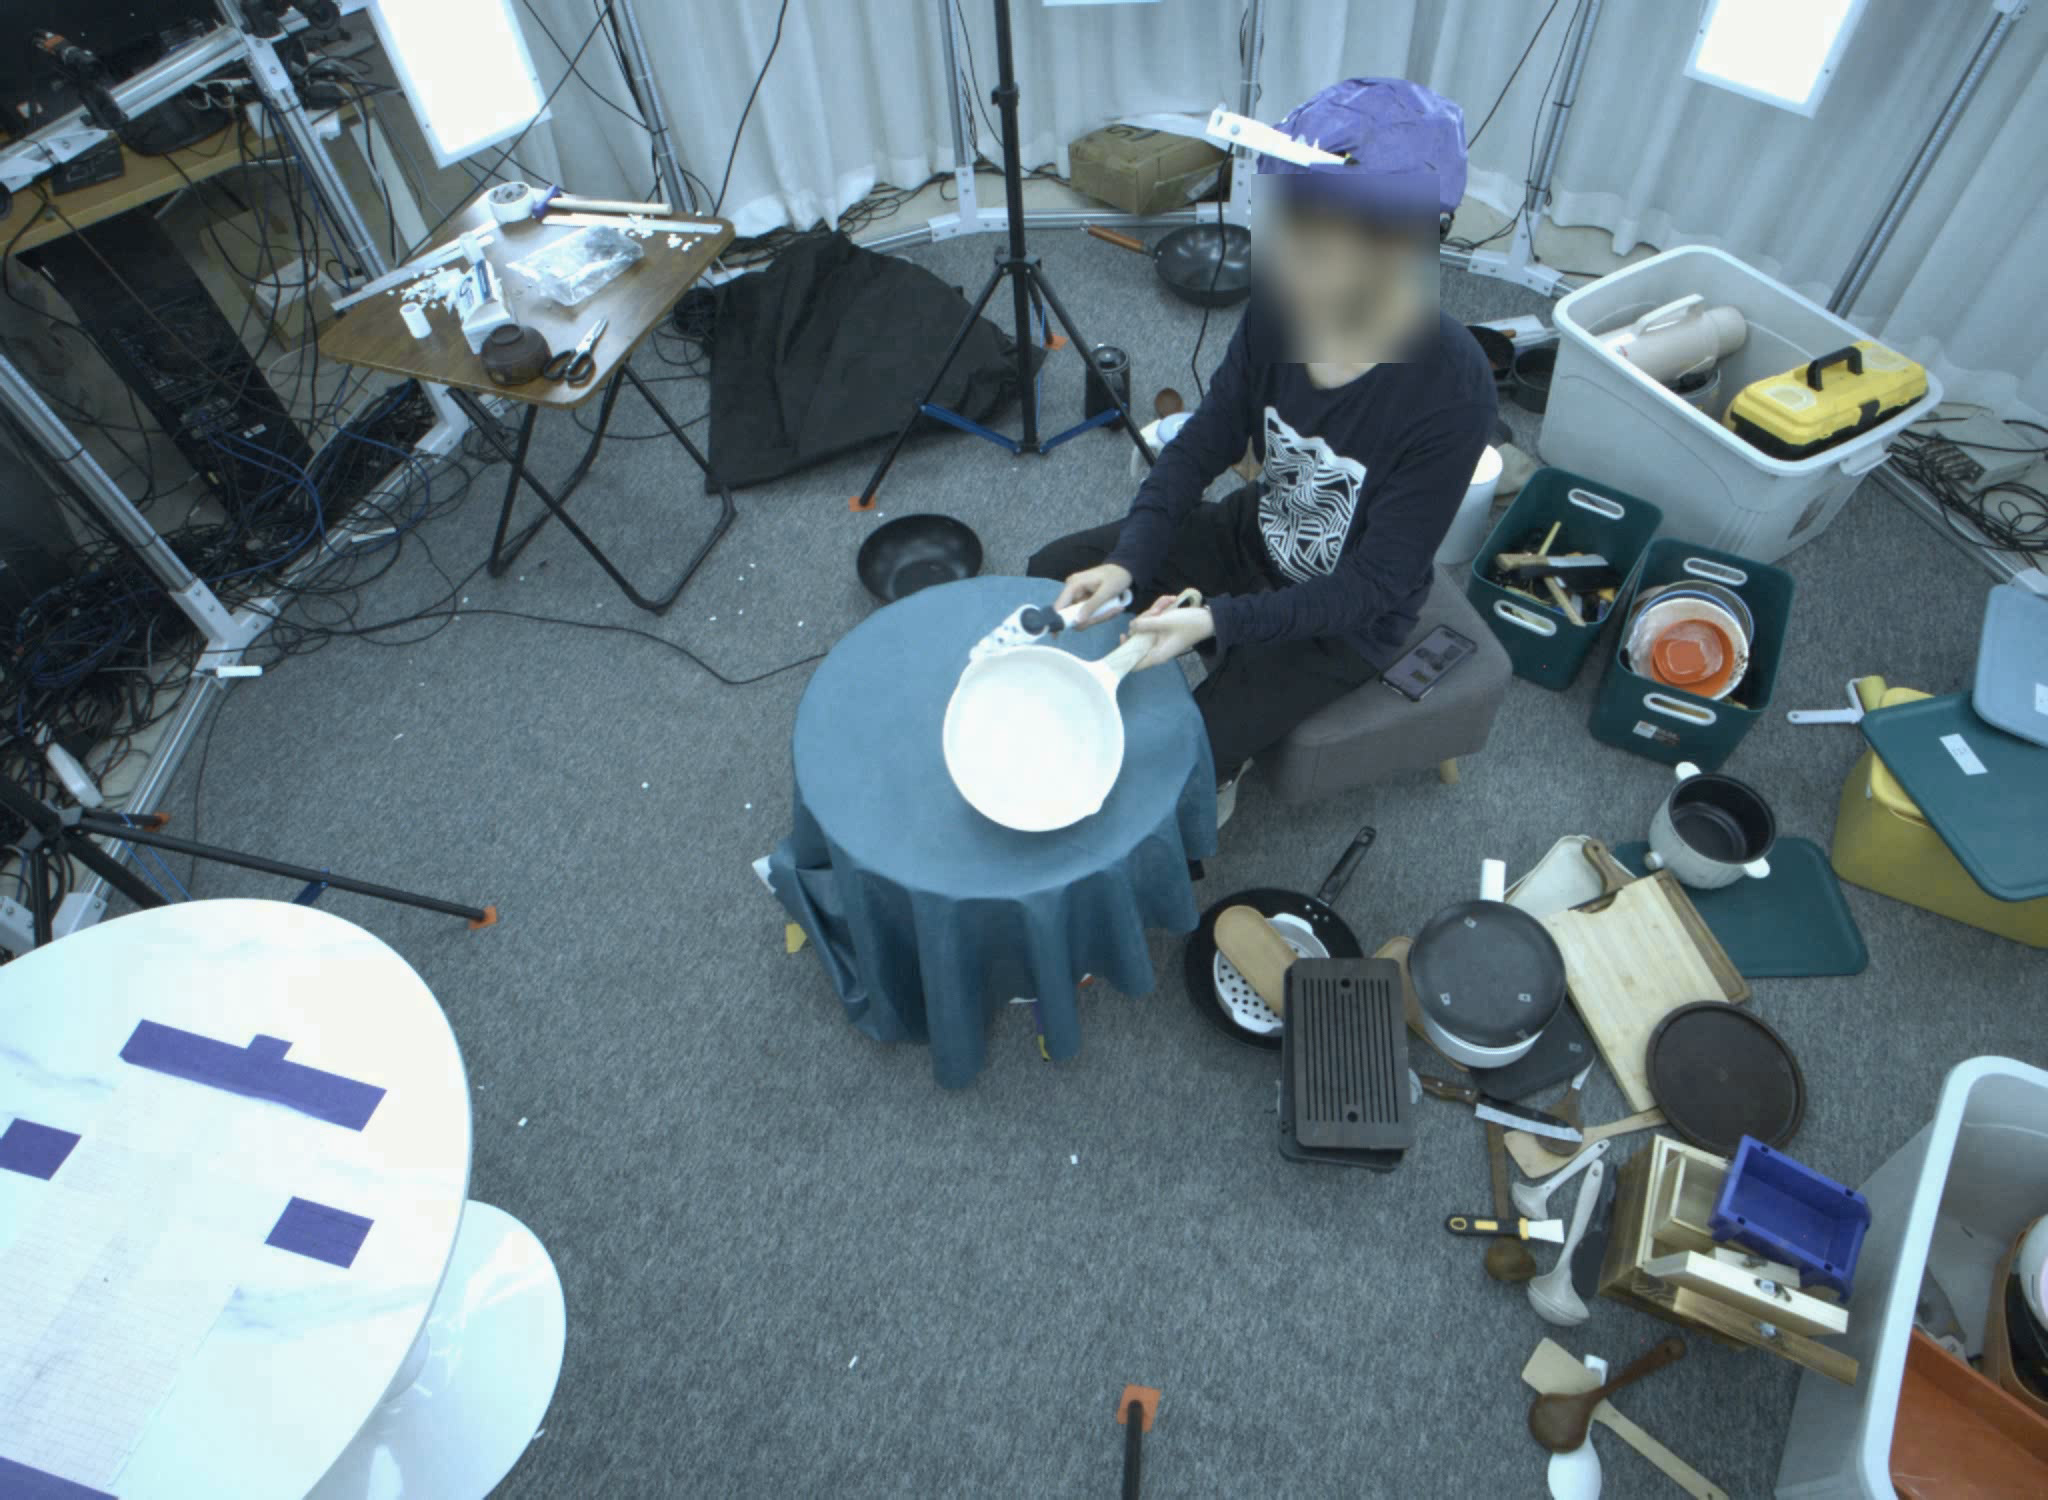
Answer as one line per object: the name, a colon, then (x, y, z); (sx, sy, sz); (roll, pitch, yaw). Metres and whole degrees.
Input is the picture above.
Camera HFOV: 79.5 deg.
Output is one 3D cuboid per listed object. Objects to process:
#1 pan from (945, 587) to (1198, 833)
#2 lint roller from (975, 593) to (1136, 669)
pan: (0.076, -0.072, 1.710); (0.436, 0.101, 0.265); (-43, 97, -15)
lint roller: (0.061, -0.189, 1.765); (0.250, 0.174, 0.050); (-25, 86, -33)
